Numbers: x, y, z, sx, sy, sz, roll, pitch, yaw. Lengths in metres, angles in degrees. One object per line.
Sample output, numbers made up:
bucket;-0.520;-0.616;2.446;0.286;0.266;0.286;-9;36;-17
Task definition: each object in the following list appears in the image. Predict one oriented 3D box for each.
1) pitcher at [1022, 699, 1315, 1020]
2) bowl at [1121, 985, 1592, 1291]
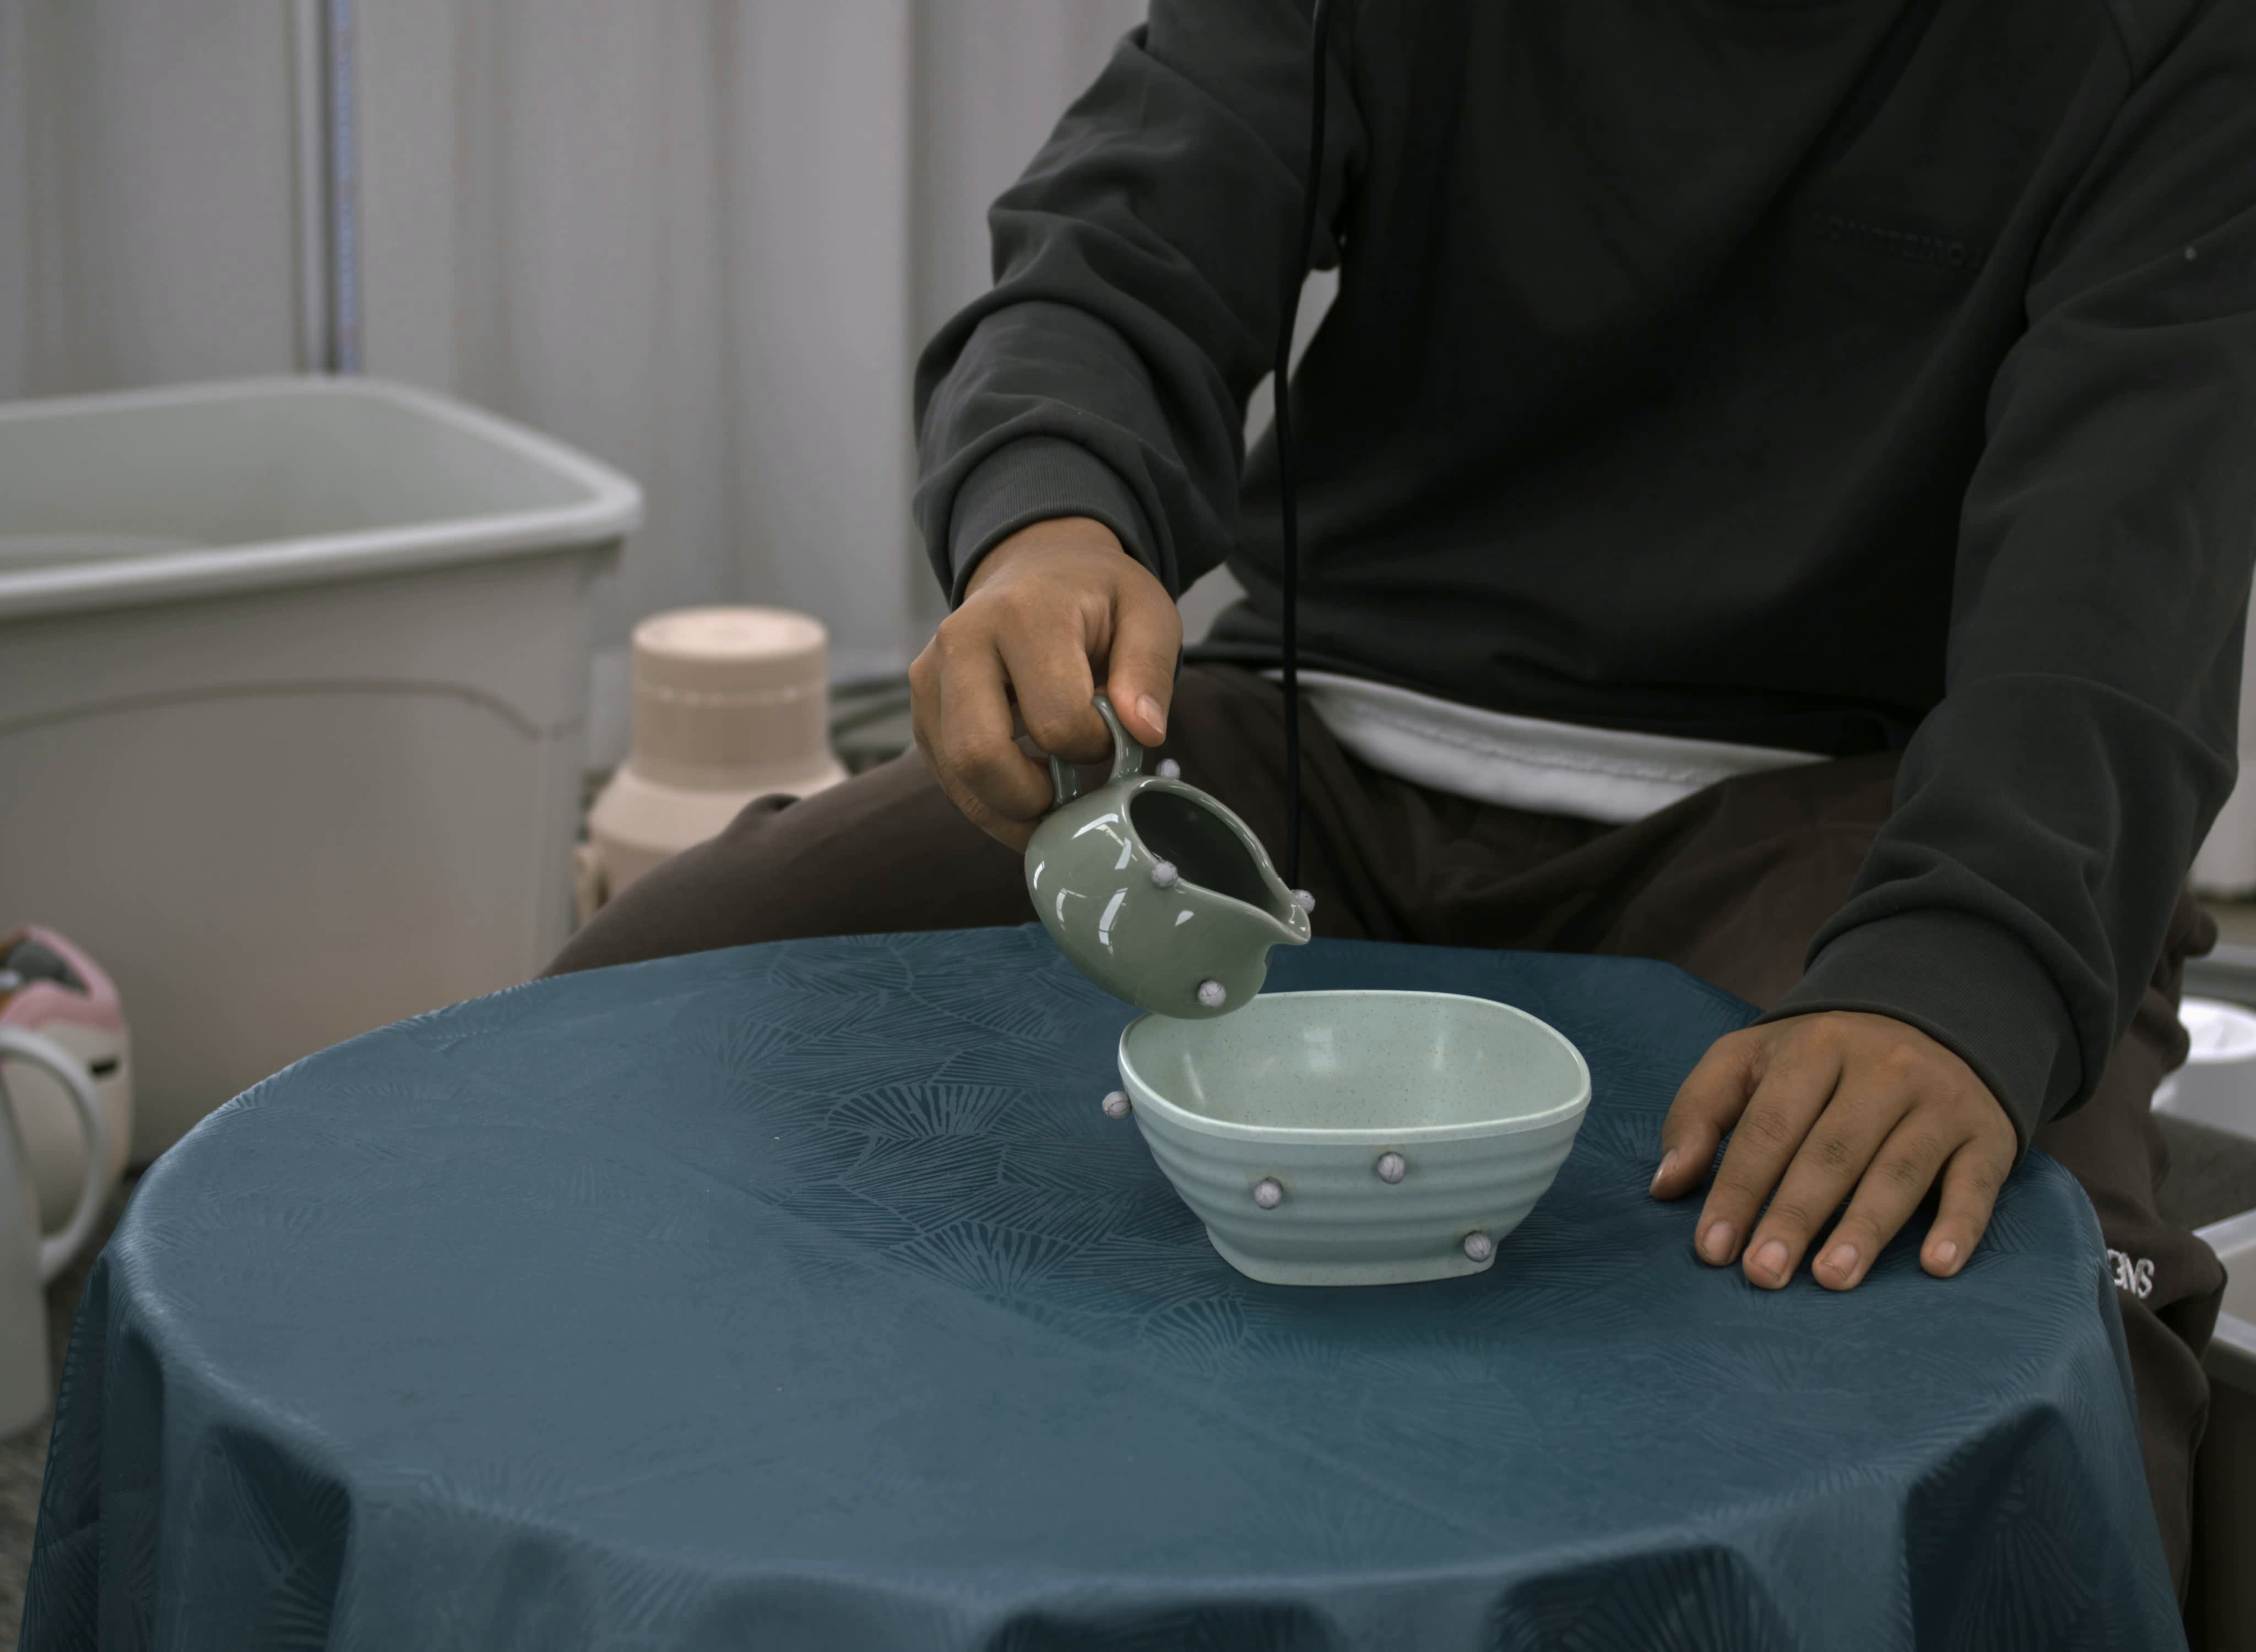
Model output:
pitcher;0.007;0.014;1.600;0.111;0.056;0.085;48;30;22
bowl;0.068;0.097;1.582;0.151;0.059;0.150;1;17;0
